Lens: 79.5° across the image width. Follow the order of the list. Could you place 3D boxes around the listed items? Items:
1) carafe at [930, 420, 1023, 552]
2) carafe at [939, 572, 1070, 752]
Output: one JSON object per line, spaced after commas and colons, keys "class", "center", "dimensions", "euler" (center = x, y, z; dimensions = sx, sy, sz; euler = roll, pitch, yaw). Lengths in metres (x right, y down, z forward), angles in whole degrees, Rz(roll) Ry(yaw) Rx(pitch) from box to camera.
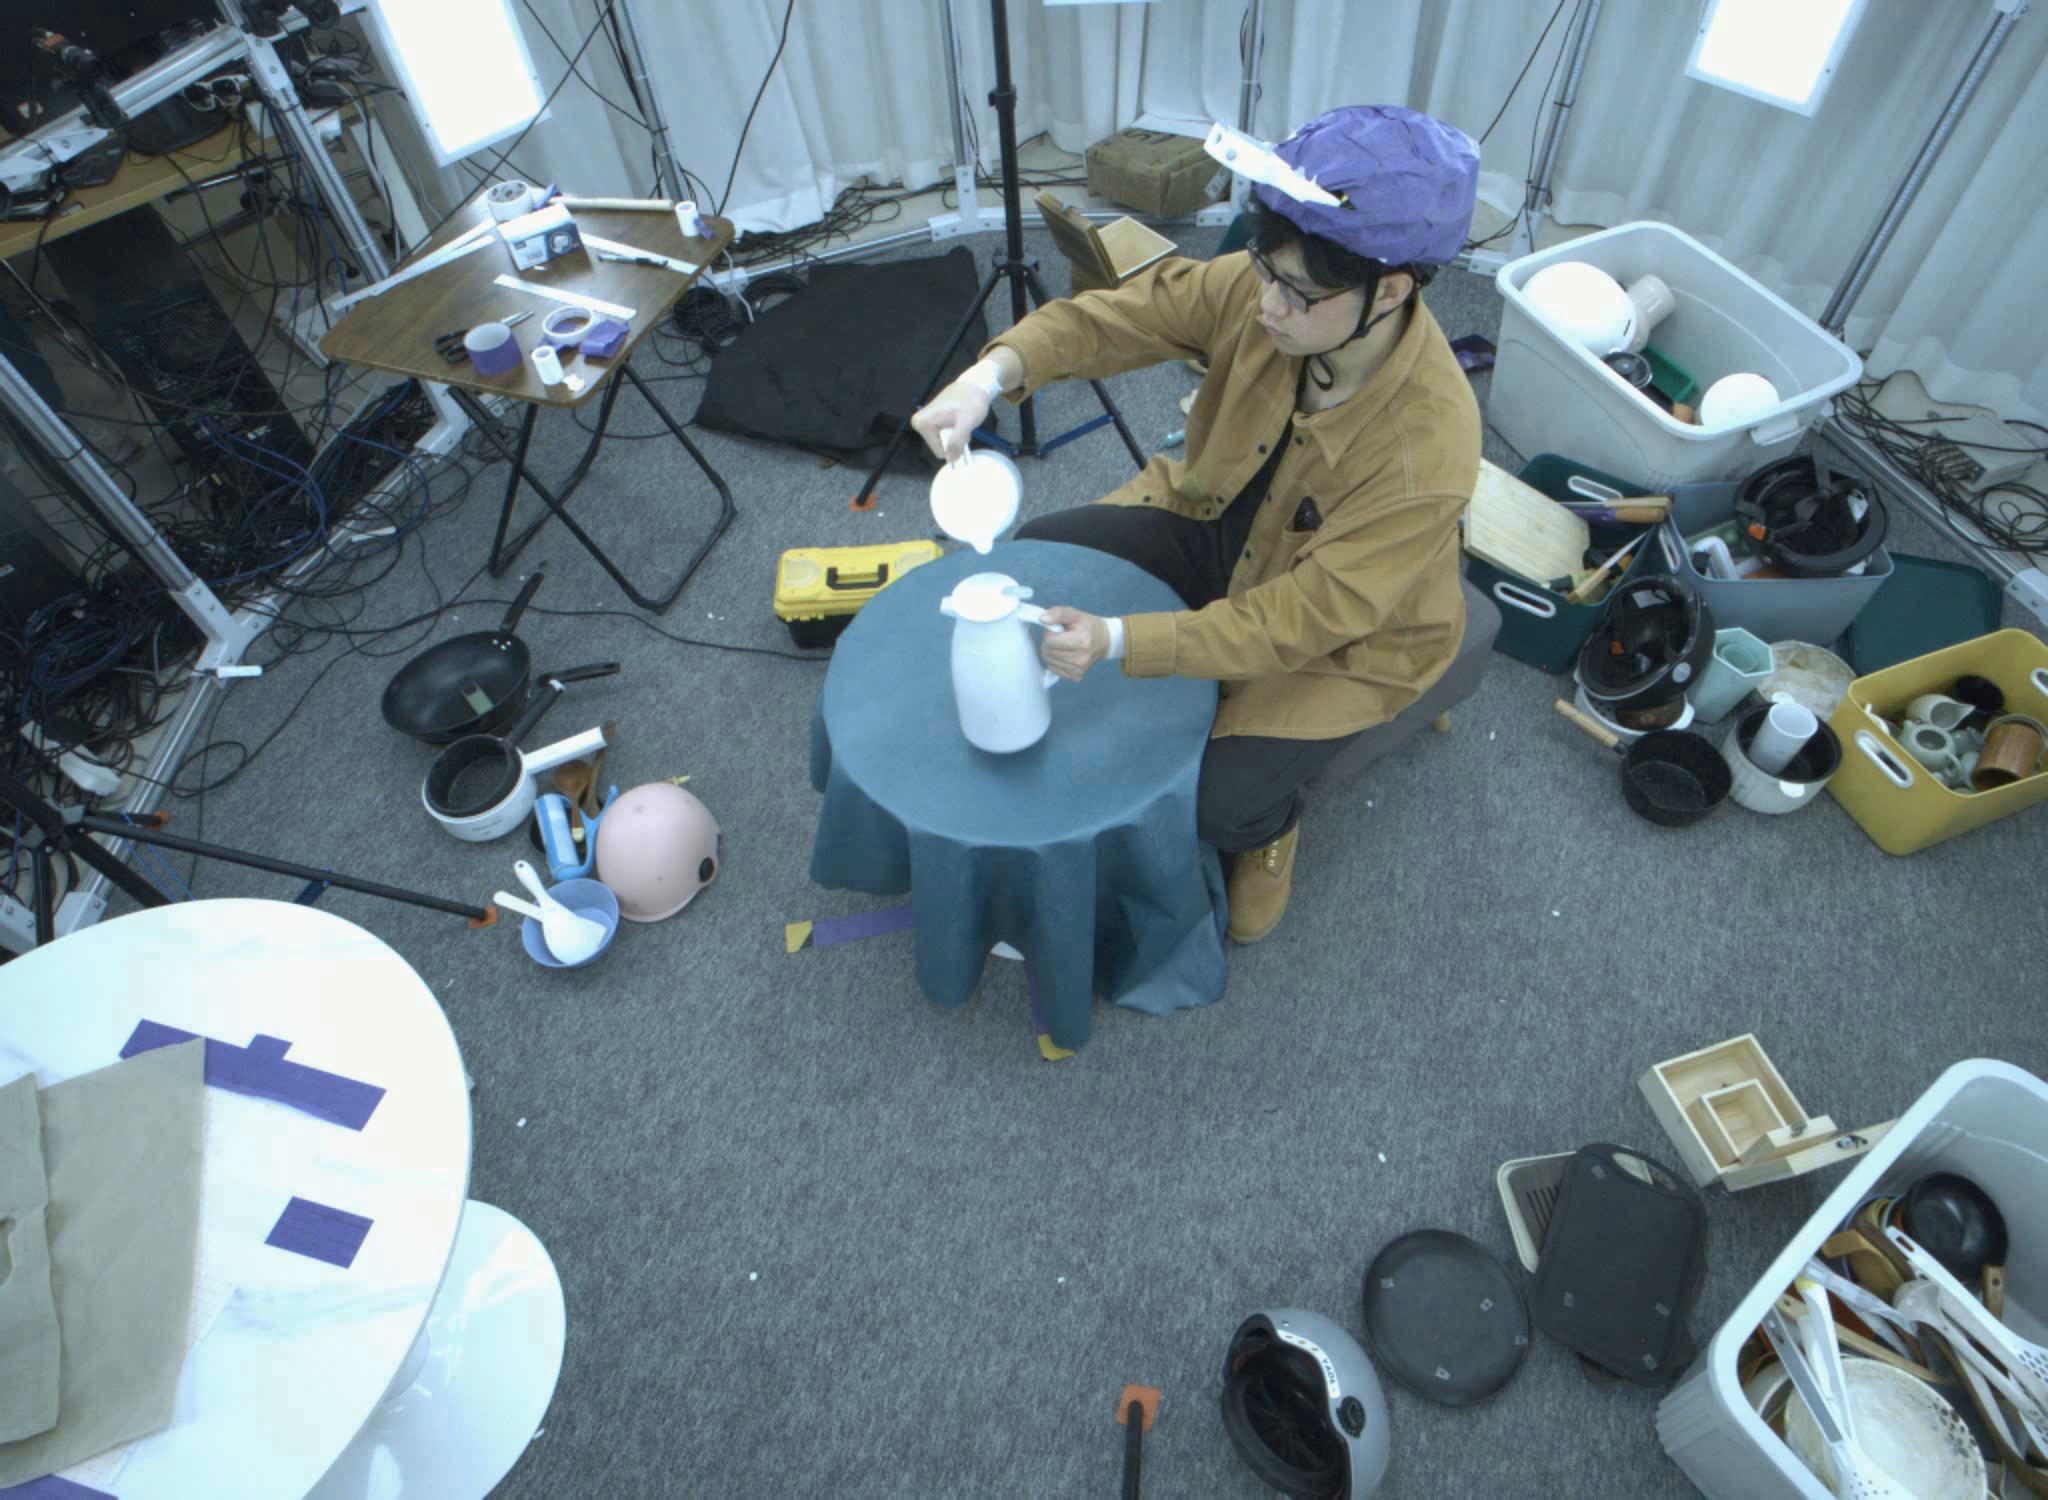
{"class": "carafe", "center": [-0.071, -0.365, 1.655], "dimensions": [0.123, 0.174, 0.268], "euler": [-14, 15, 8]}
{"class": "carafe", "center": [-0.020, -0.125, 1.666], "dimensions": [0.167, 0.251, 0.131], "euler": [2, 51, 6]}
